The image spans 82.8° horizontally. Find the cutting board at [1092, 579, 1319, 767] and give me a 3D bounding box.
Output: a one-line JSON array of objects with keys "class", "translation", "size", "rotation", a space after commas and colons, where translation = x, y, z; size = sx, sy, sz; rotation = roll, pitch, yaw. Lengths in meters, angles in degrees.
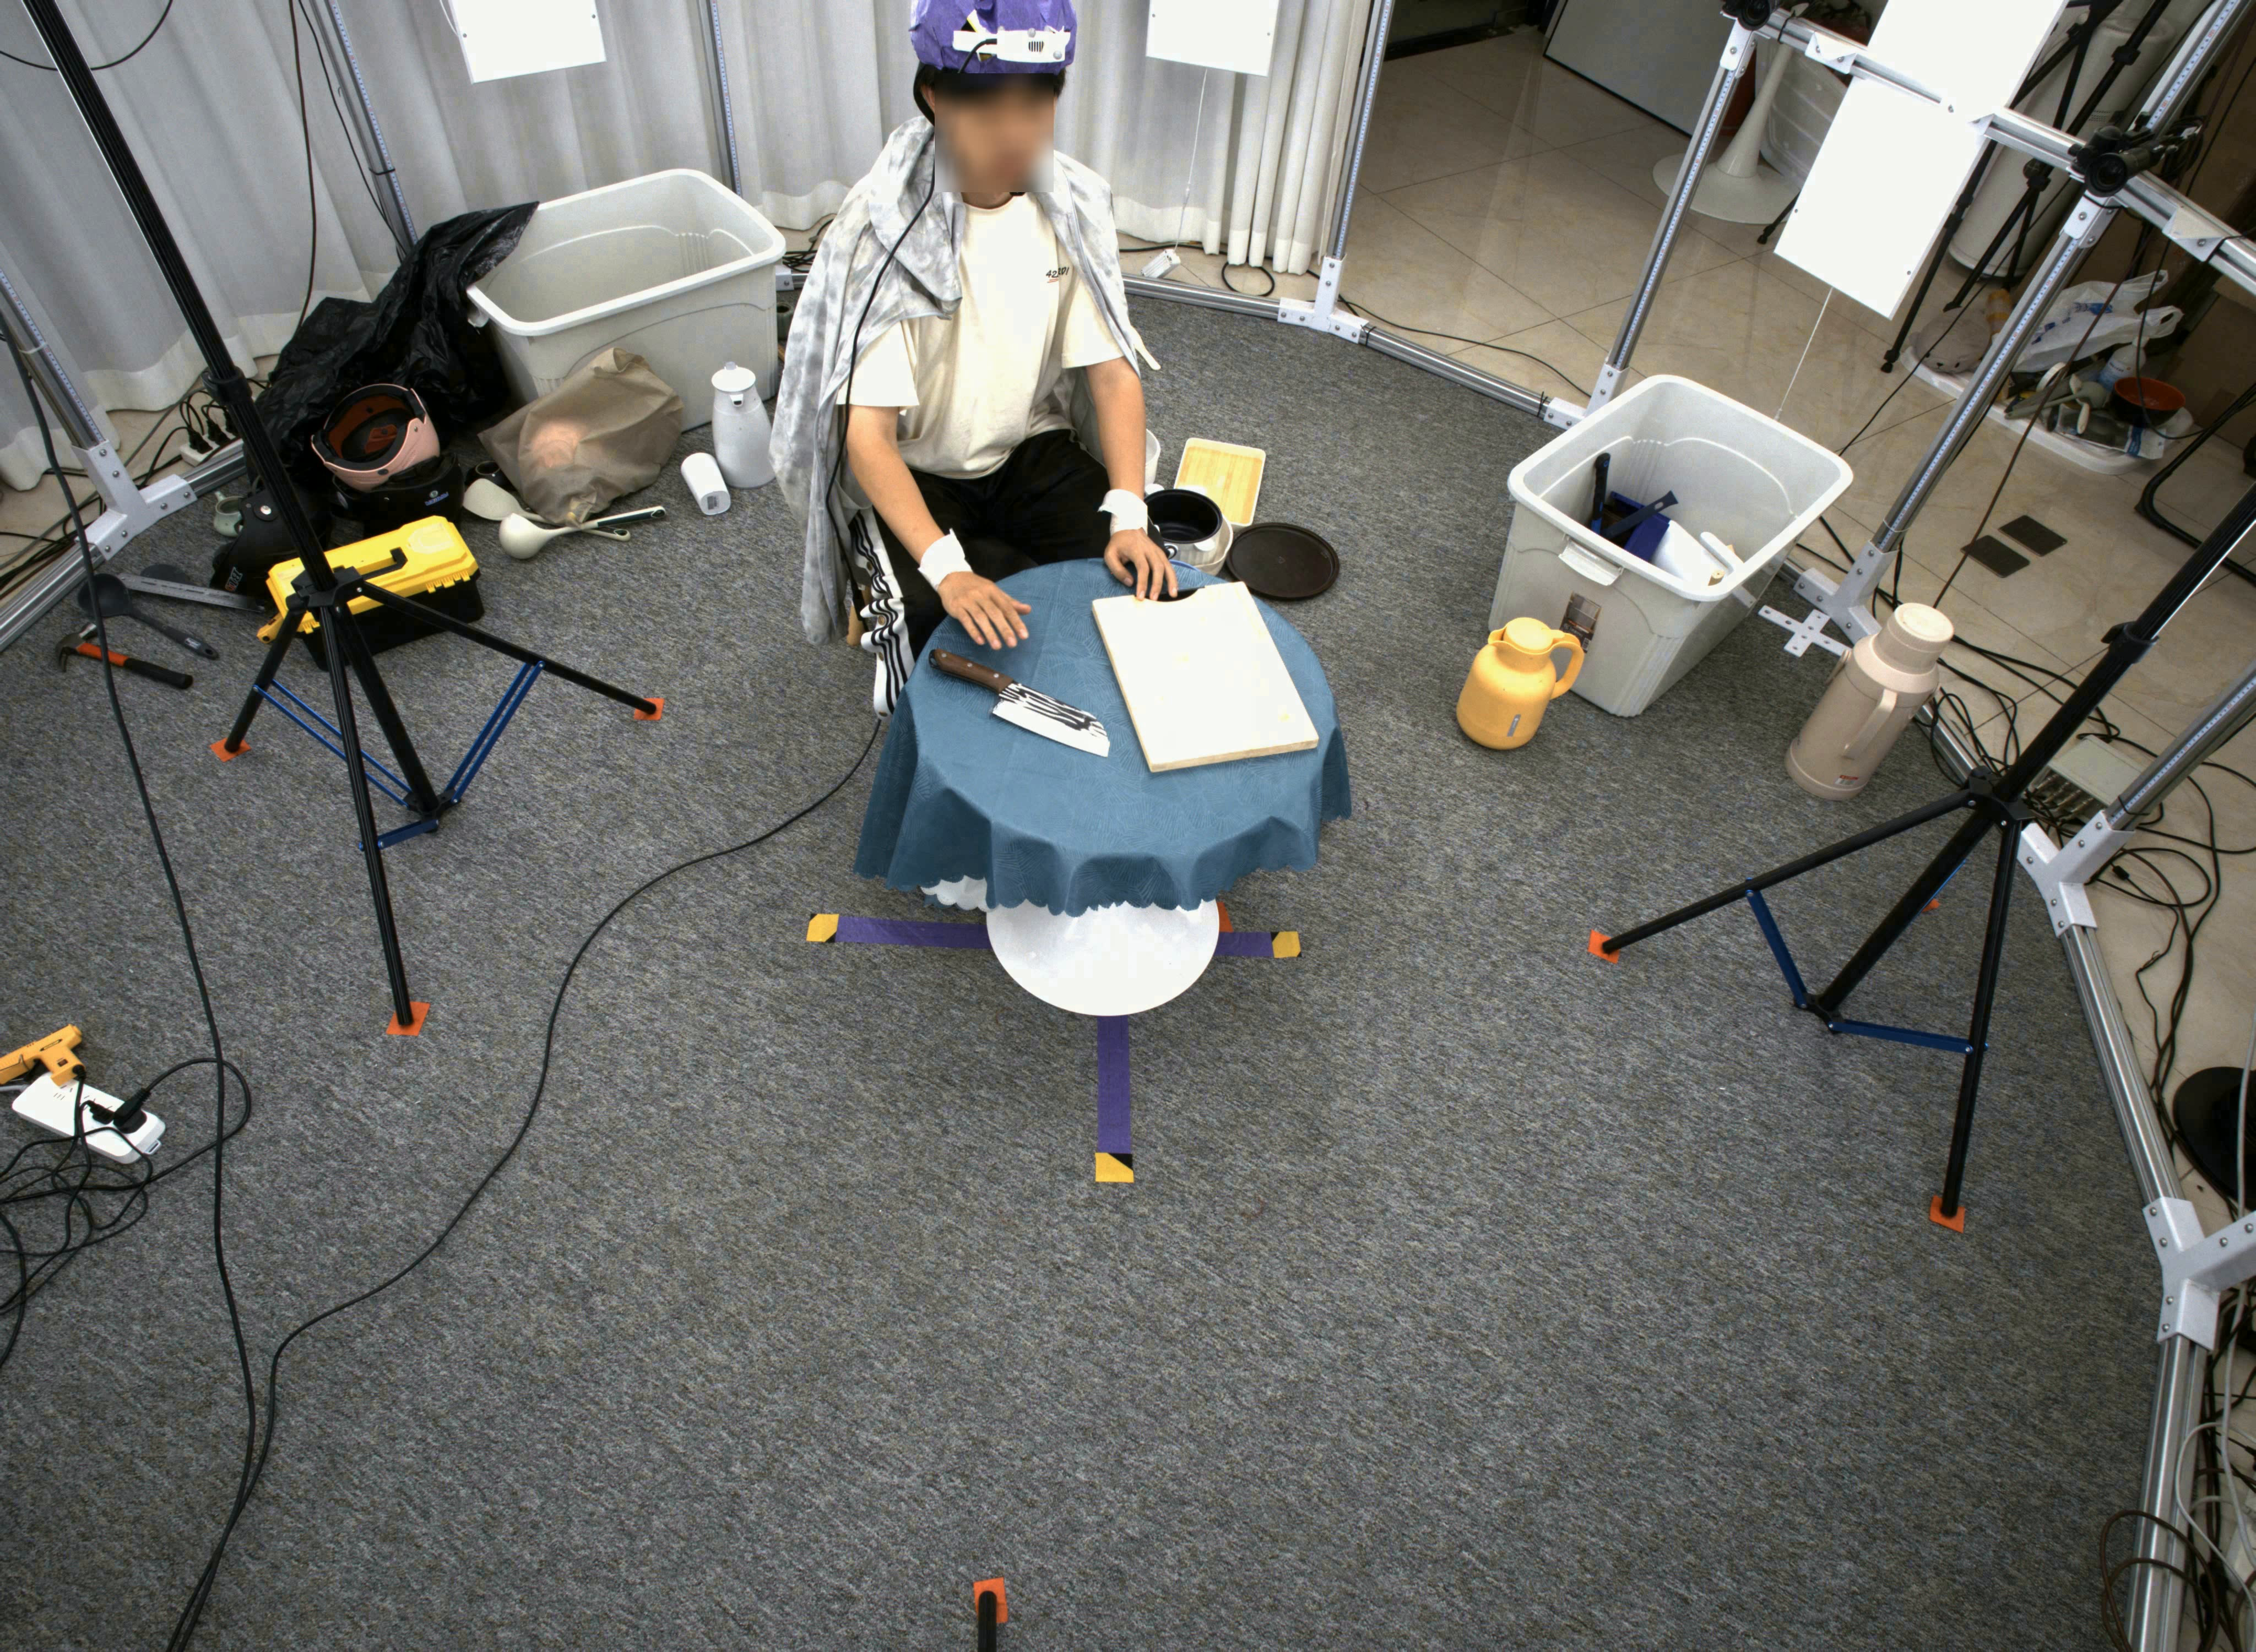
[{"class": "cutting board", "translation": [0.104, -0.228, 1.856], "size": [0.250, 0.023, 0.357], "rotation": [-10, 50, -12]}]

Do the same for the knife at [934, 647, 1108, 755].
[{"class": "knife", "translation": [-0.153, -0.173, 1.788], "size": [0.301, 0.023, 0.069], "rotation": [25, 53, 14]}]
